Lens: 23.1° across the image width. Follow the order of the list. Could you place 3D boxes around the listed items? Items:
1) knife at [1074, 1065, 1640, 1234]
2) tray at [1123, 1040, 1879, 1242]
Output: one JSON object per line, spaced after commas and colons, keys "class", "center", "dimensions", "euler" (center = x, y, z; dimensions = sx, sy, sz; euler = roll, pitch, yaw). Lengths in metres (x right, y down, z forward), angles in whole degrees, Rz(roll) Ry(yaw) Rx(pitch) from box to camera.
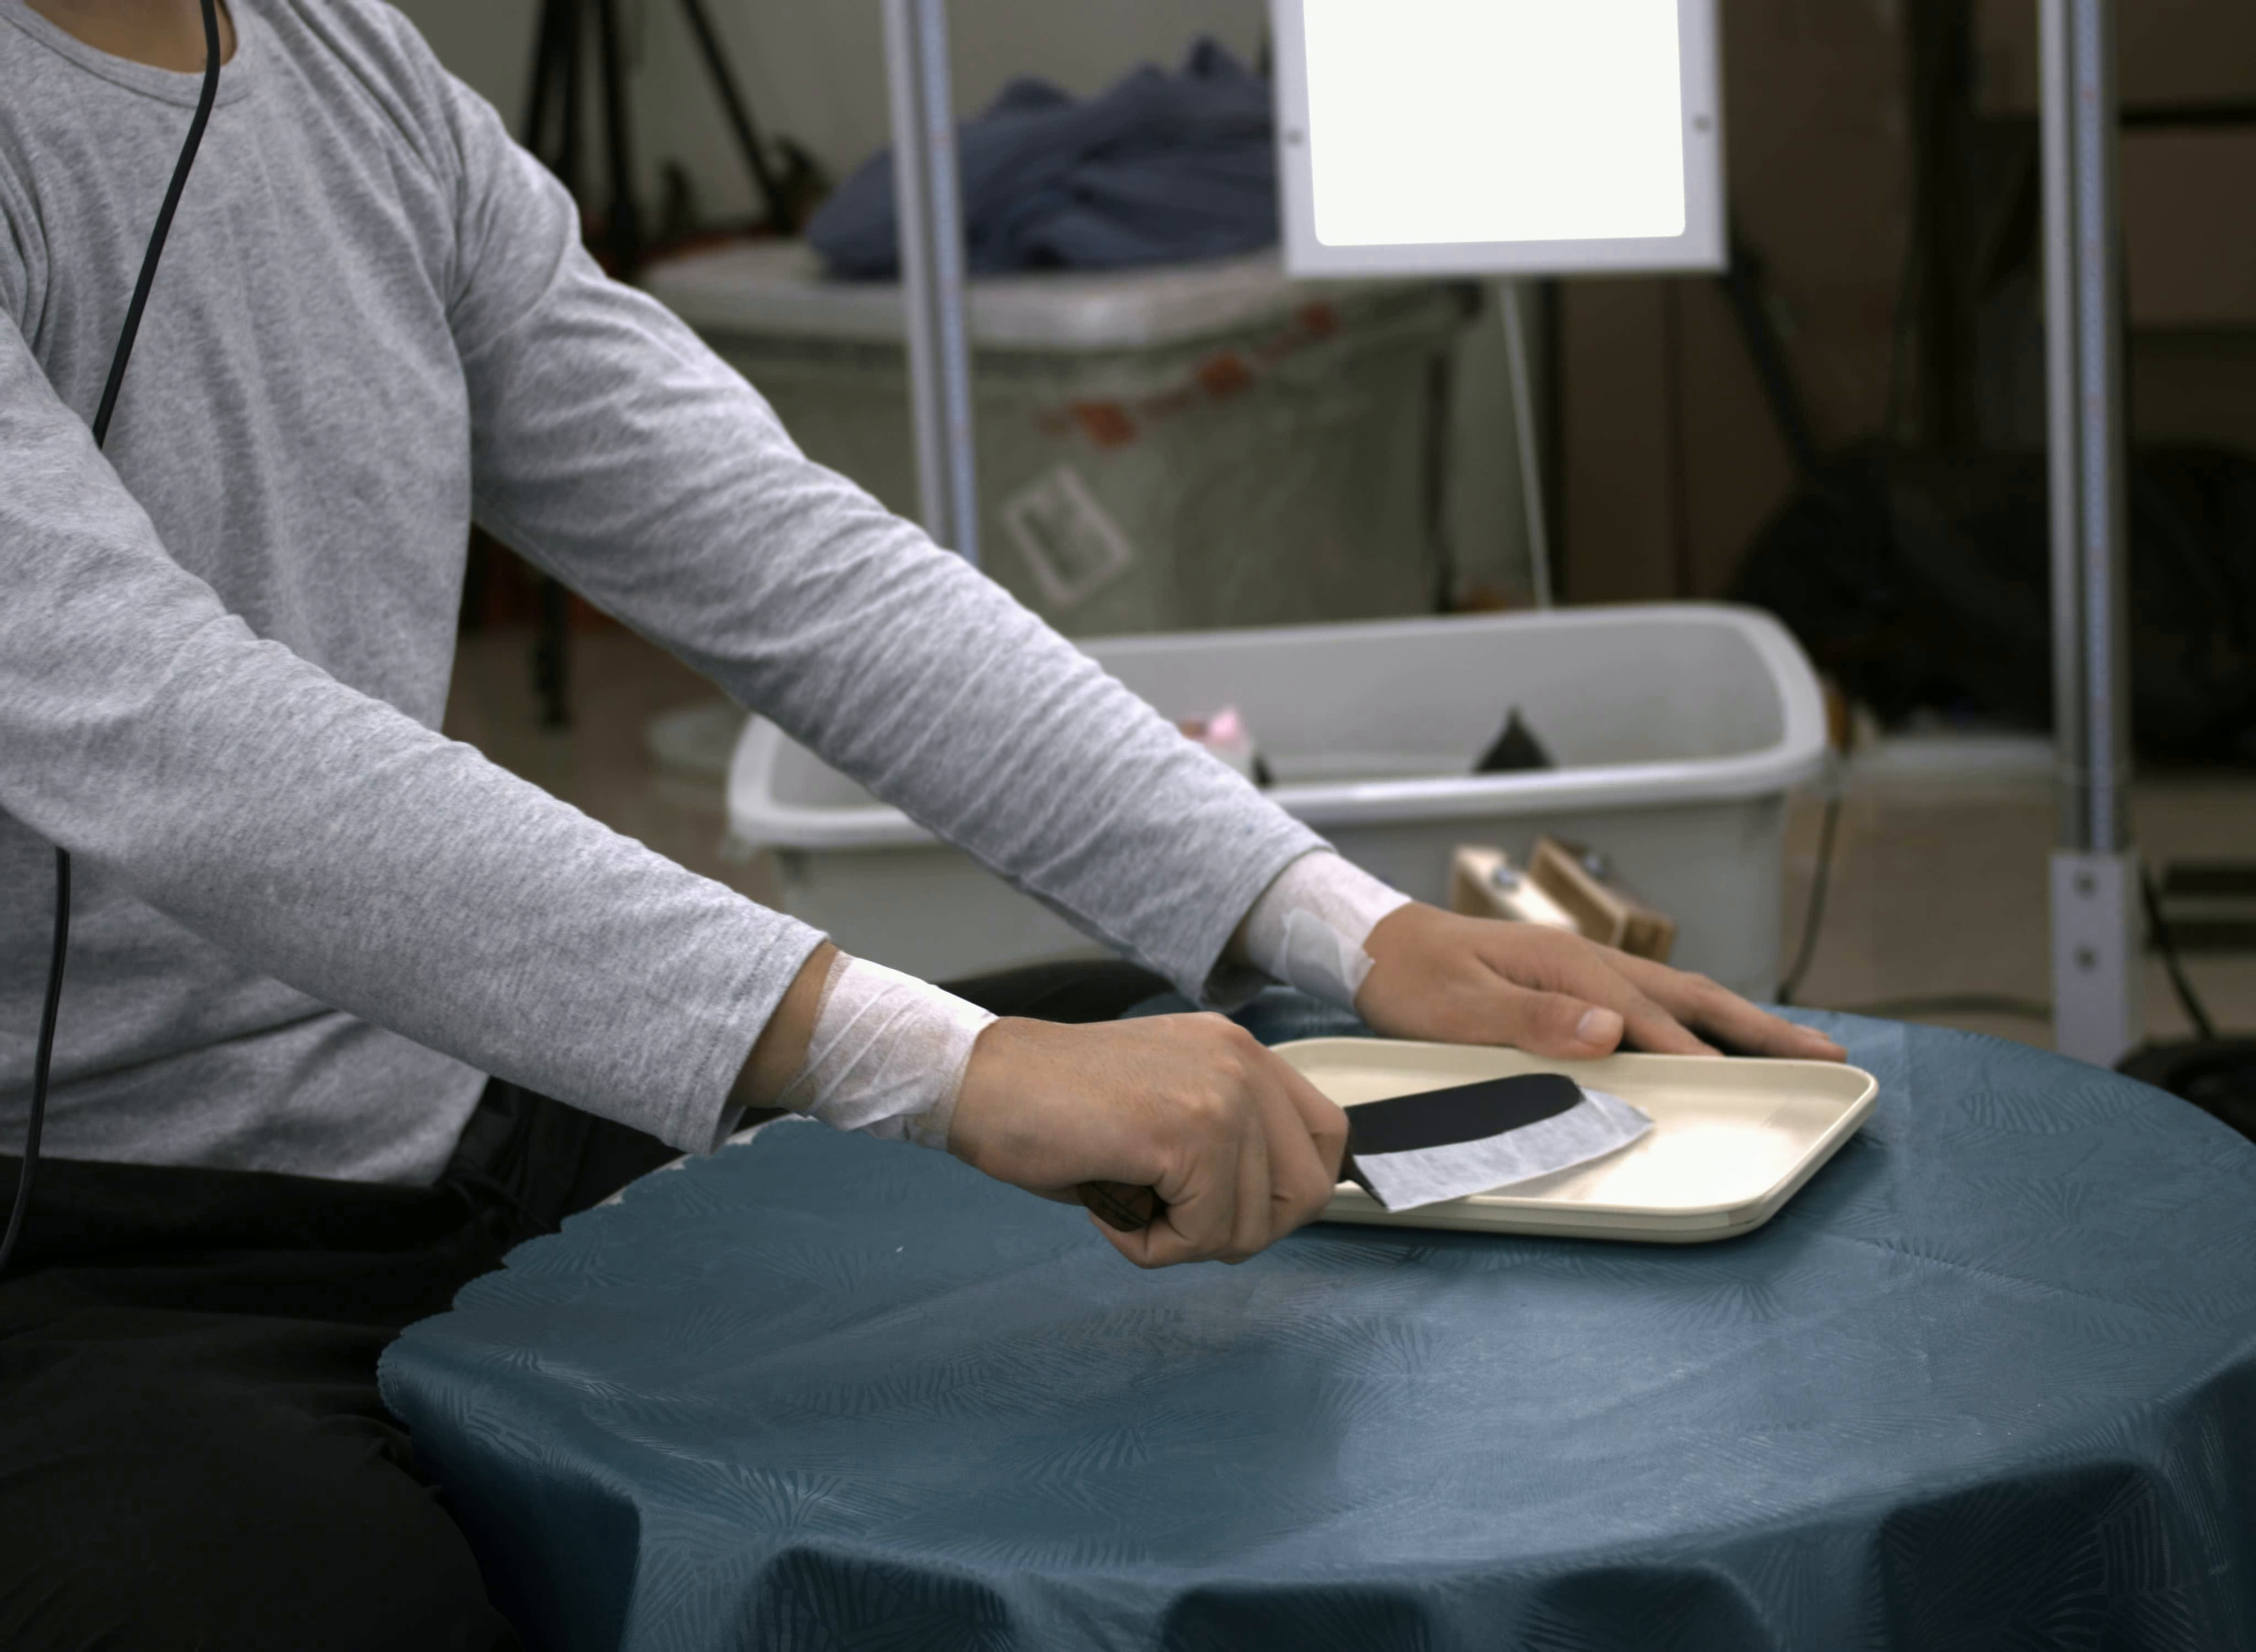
{"class": "knife", "center": [0.083, 0.106, 1.808], "dimensions": [0.282, 0.020, 0.051], "euler": [-4, 50, -48]}
{"class": "tray", "center": [0.129, 0.108, 1.895], "dimensions": [0.244, 0.017, 0.167], "euler": [2, 15, 27]}
